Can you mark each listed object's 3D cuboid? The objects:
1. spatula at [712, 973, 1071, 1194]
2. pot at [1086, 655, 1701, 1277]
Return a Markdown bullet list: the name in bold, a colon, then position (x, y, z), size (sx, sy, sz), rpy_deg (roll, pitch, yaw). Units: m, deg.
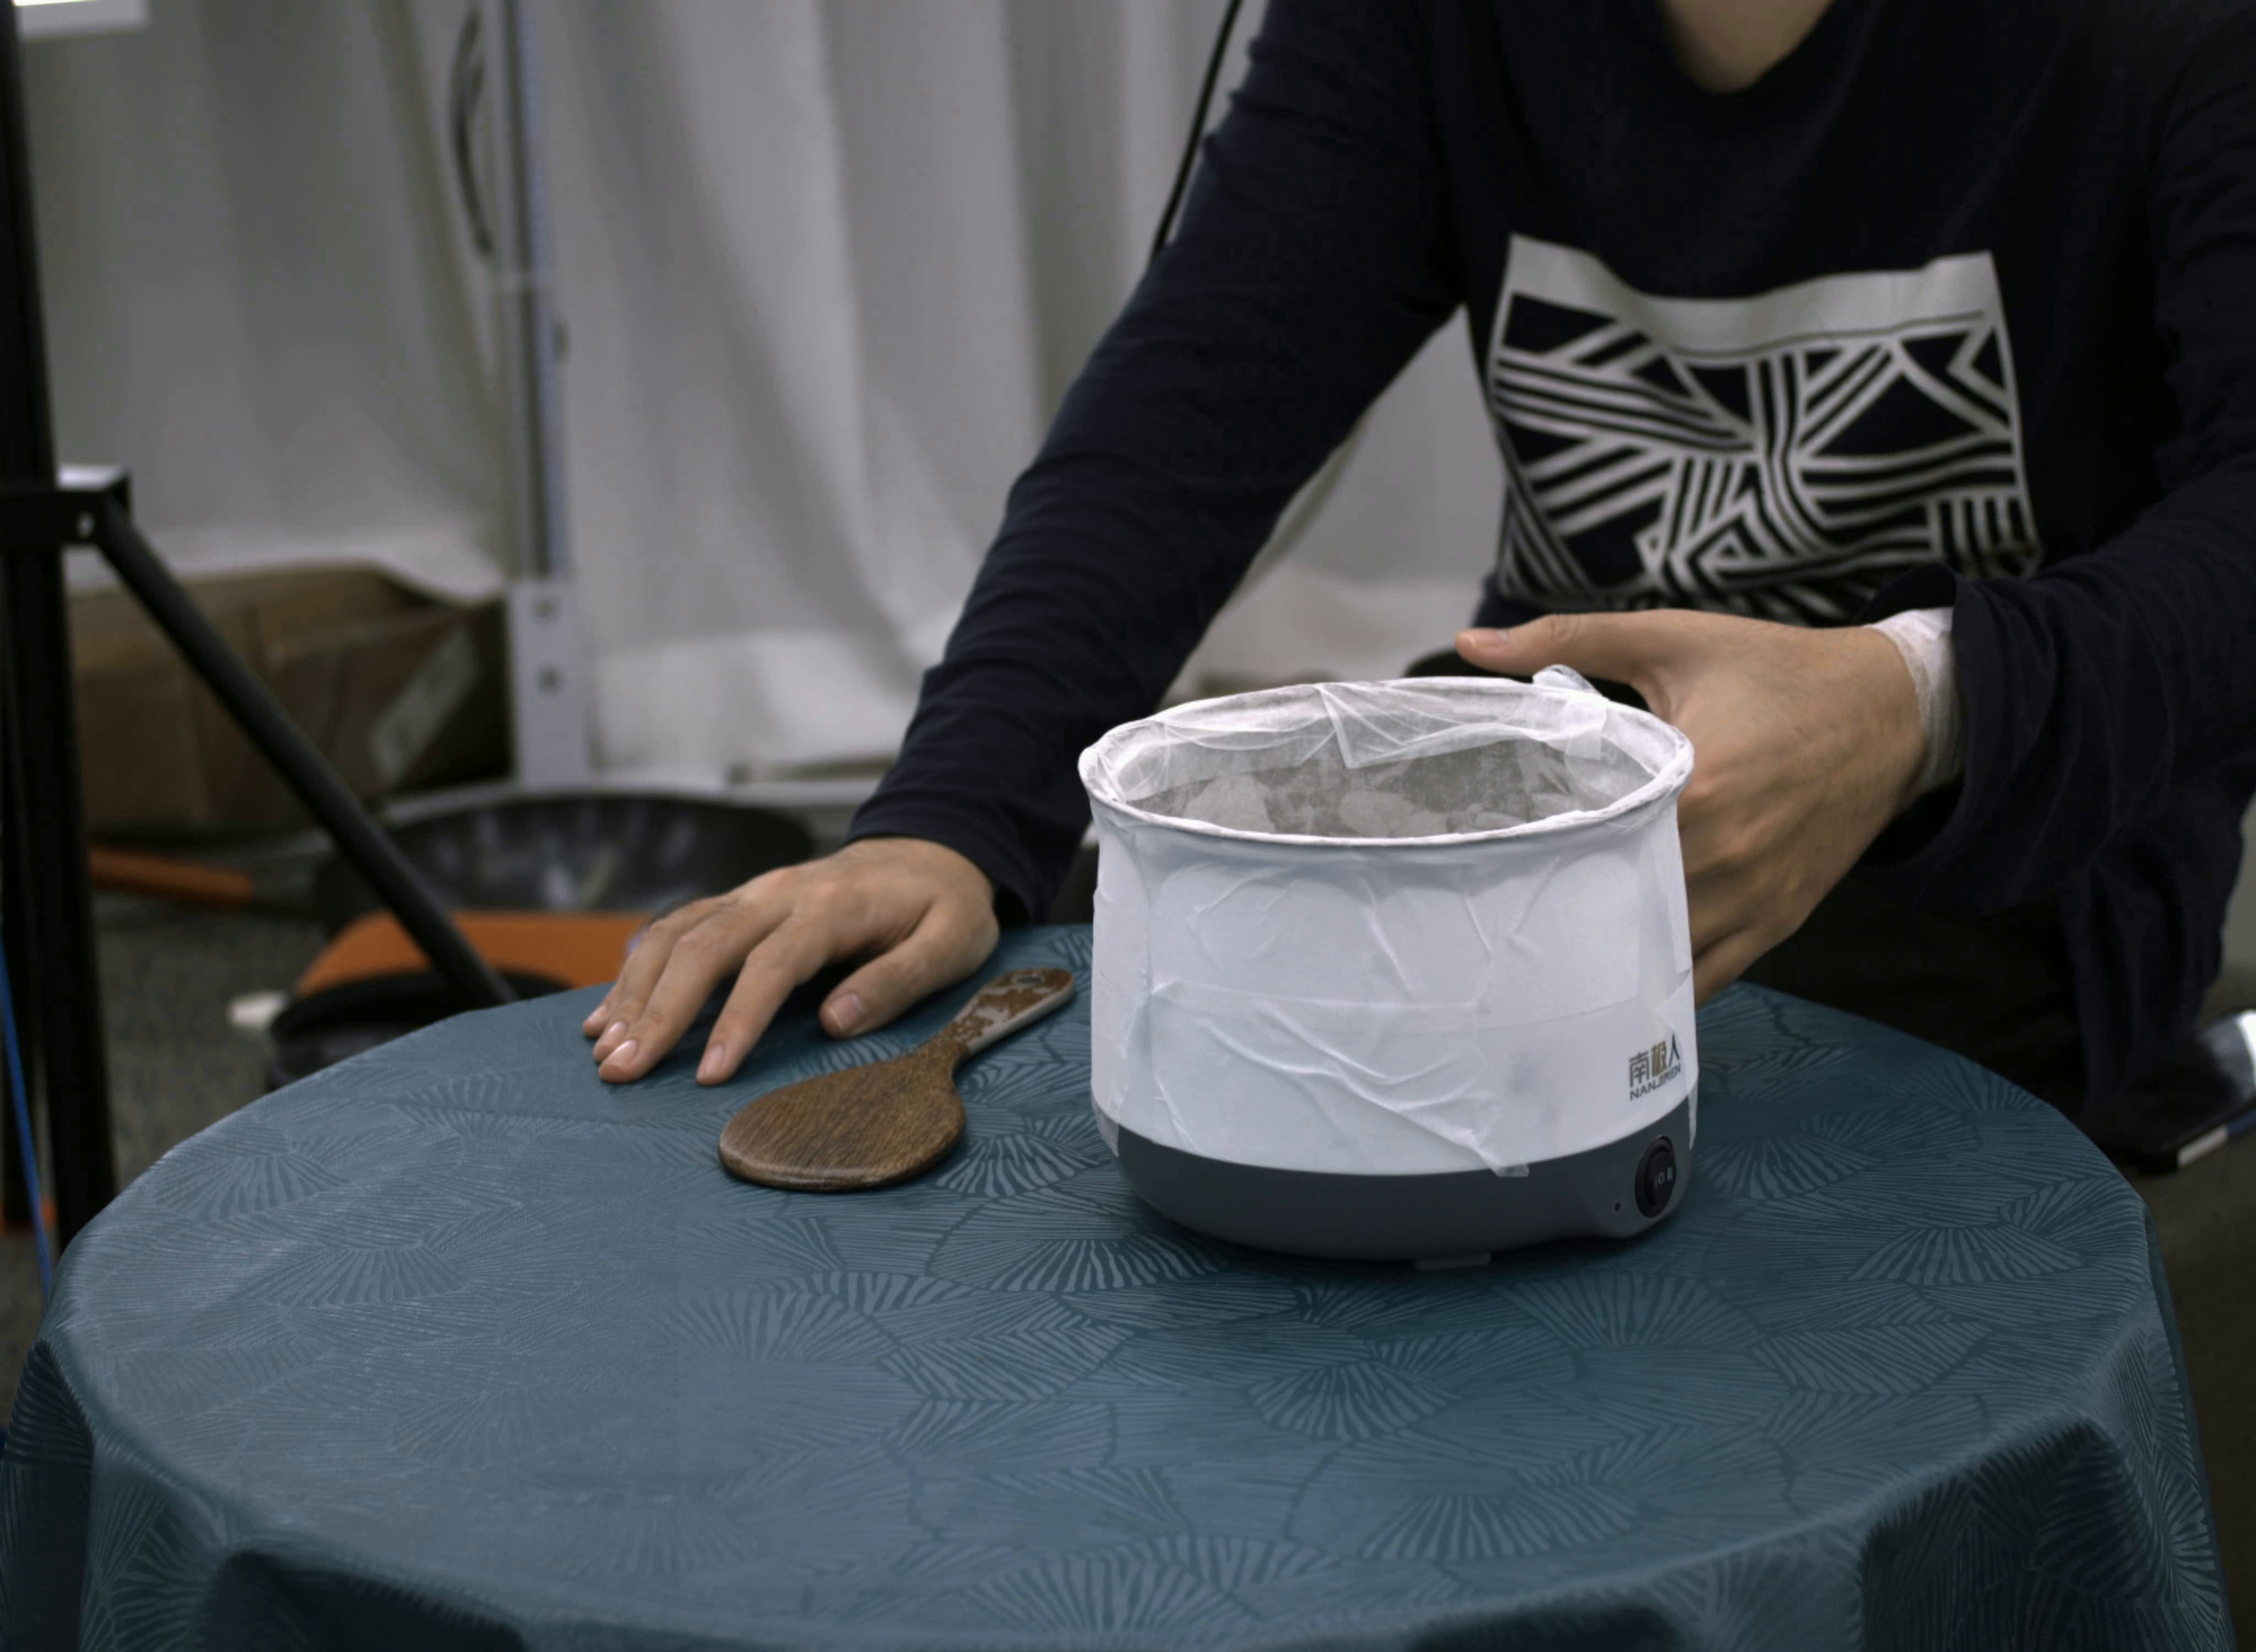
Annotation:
- **spatula**: position (-0.062, 0.078, 1.669), size (0.073, 0.009, 0.213), rpy_deg (5, 17, 21)
- **pot**: position (0.091, 0.033, 1.557), size (0.182, 0.136, 0.229), rpy_deg (11, 21, 31)
